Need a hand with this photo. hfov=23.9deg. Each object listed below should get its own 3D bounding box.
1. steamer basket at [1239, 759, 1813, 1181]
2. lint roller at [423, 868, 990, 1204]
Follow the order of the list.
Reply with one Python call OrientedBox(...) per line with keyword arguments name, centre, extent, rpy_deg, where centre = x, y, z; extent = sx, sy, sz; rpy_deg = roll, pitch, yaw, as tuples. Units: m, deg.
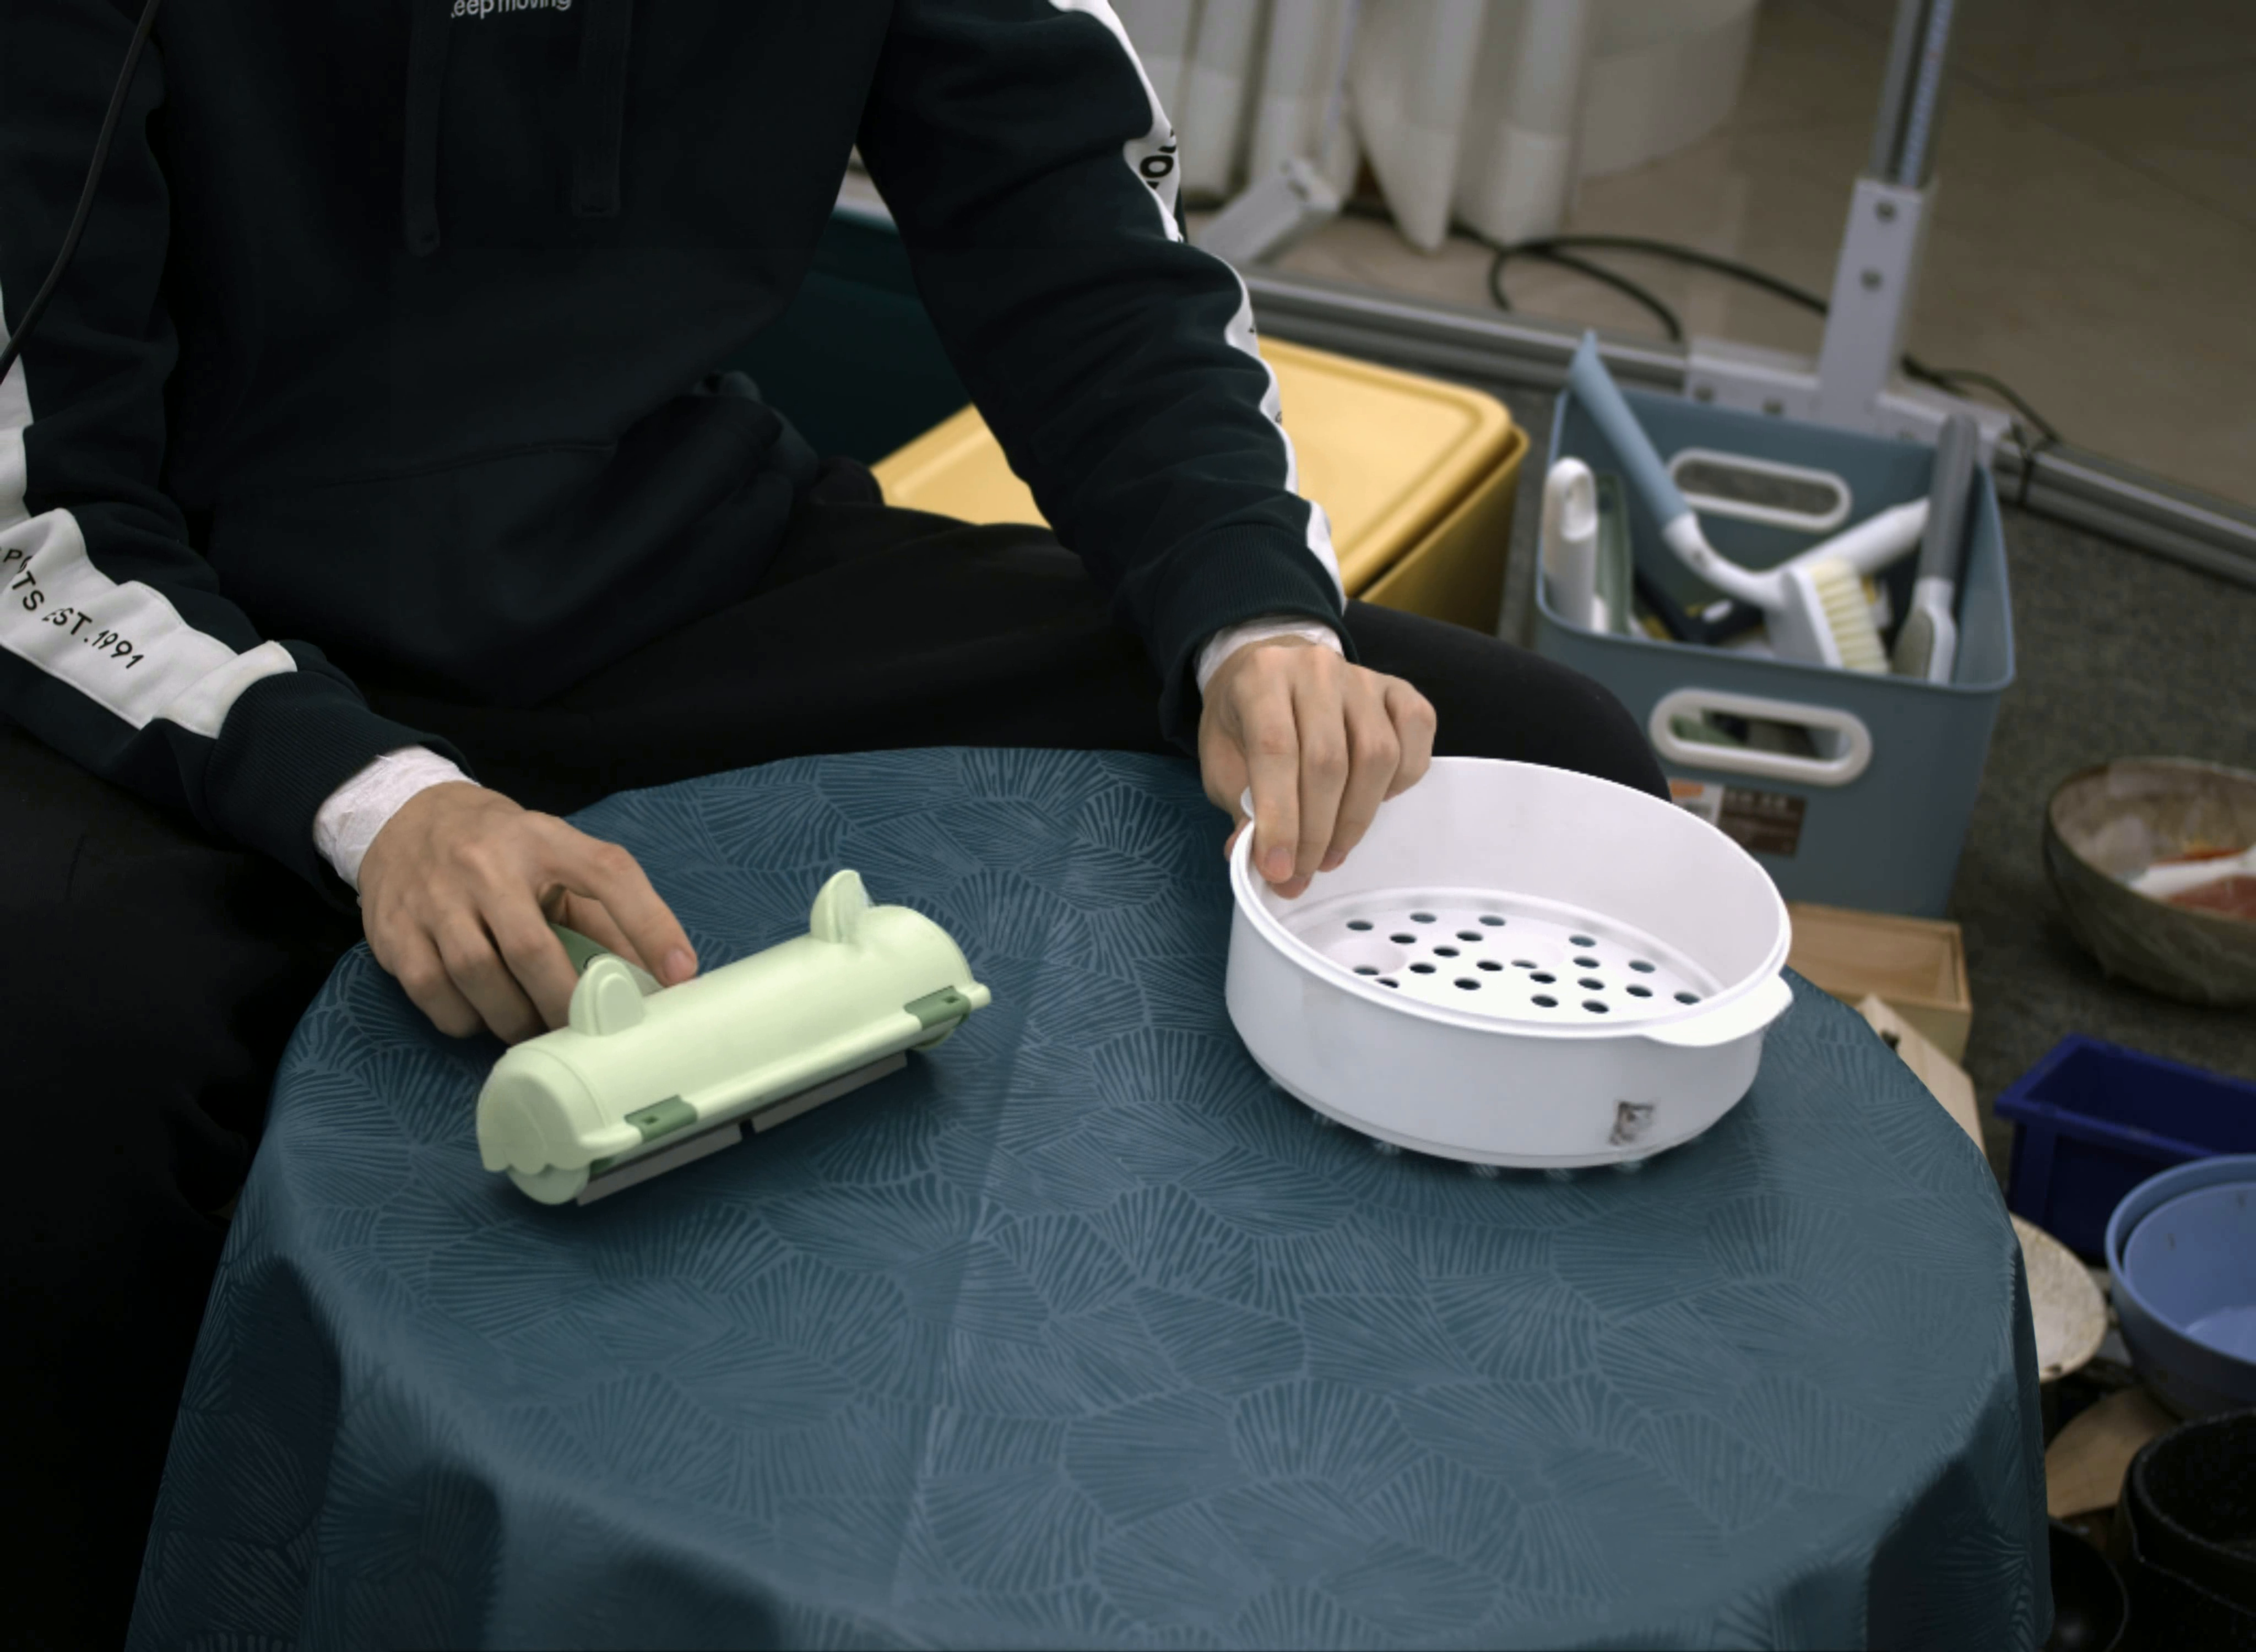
OrientedBox(name="steamer basket", centre=(0.138, 0.052, 1.893), extent=(0.201, 0.069, 0.232), rpy_deg=(-20, 39, -40))
OrientedBox(name="lint roller", centre=(-0.174, 0.047, 1.822), extent=(0.184, 0.082, 0.197), rpy_deg=(29, 32, 33))
